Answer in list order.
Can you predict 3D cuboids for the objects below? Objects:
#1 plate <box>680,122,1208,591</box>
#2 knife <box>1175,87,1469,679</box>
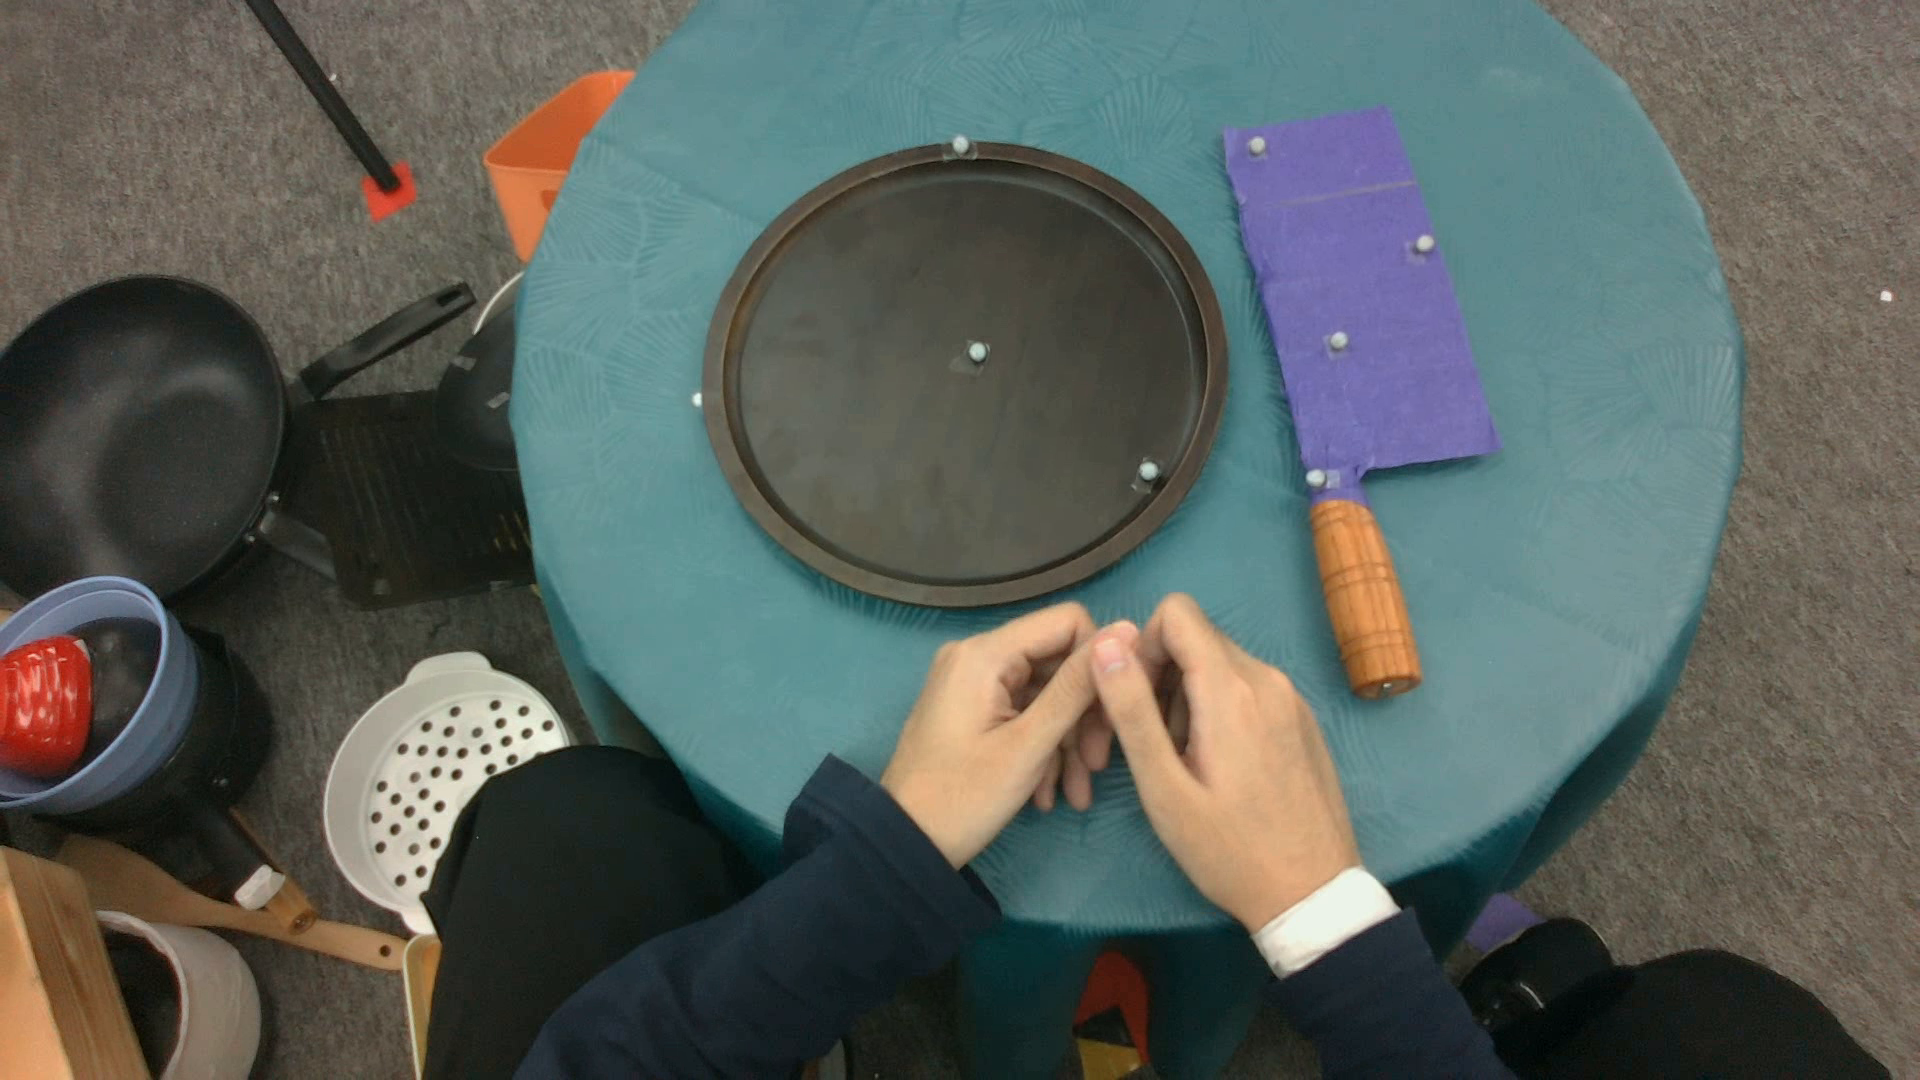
[{"bbox_3d":[-0.008,-0.093,0.665,0.255,0.029,0.255,-1,67,3],"label":"plate"},{"bbox_3d":[0.185,-0.092,0.654,0.104,0.032,0.316,-9,67,-1],"label":"knife"}]
